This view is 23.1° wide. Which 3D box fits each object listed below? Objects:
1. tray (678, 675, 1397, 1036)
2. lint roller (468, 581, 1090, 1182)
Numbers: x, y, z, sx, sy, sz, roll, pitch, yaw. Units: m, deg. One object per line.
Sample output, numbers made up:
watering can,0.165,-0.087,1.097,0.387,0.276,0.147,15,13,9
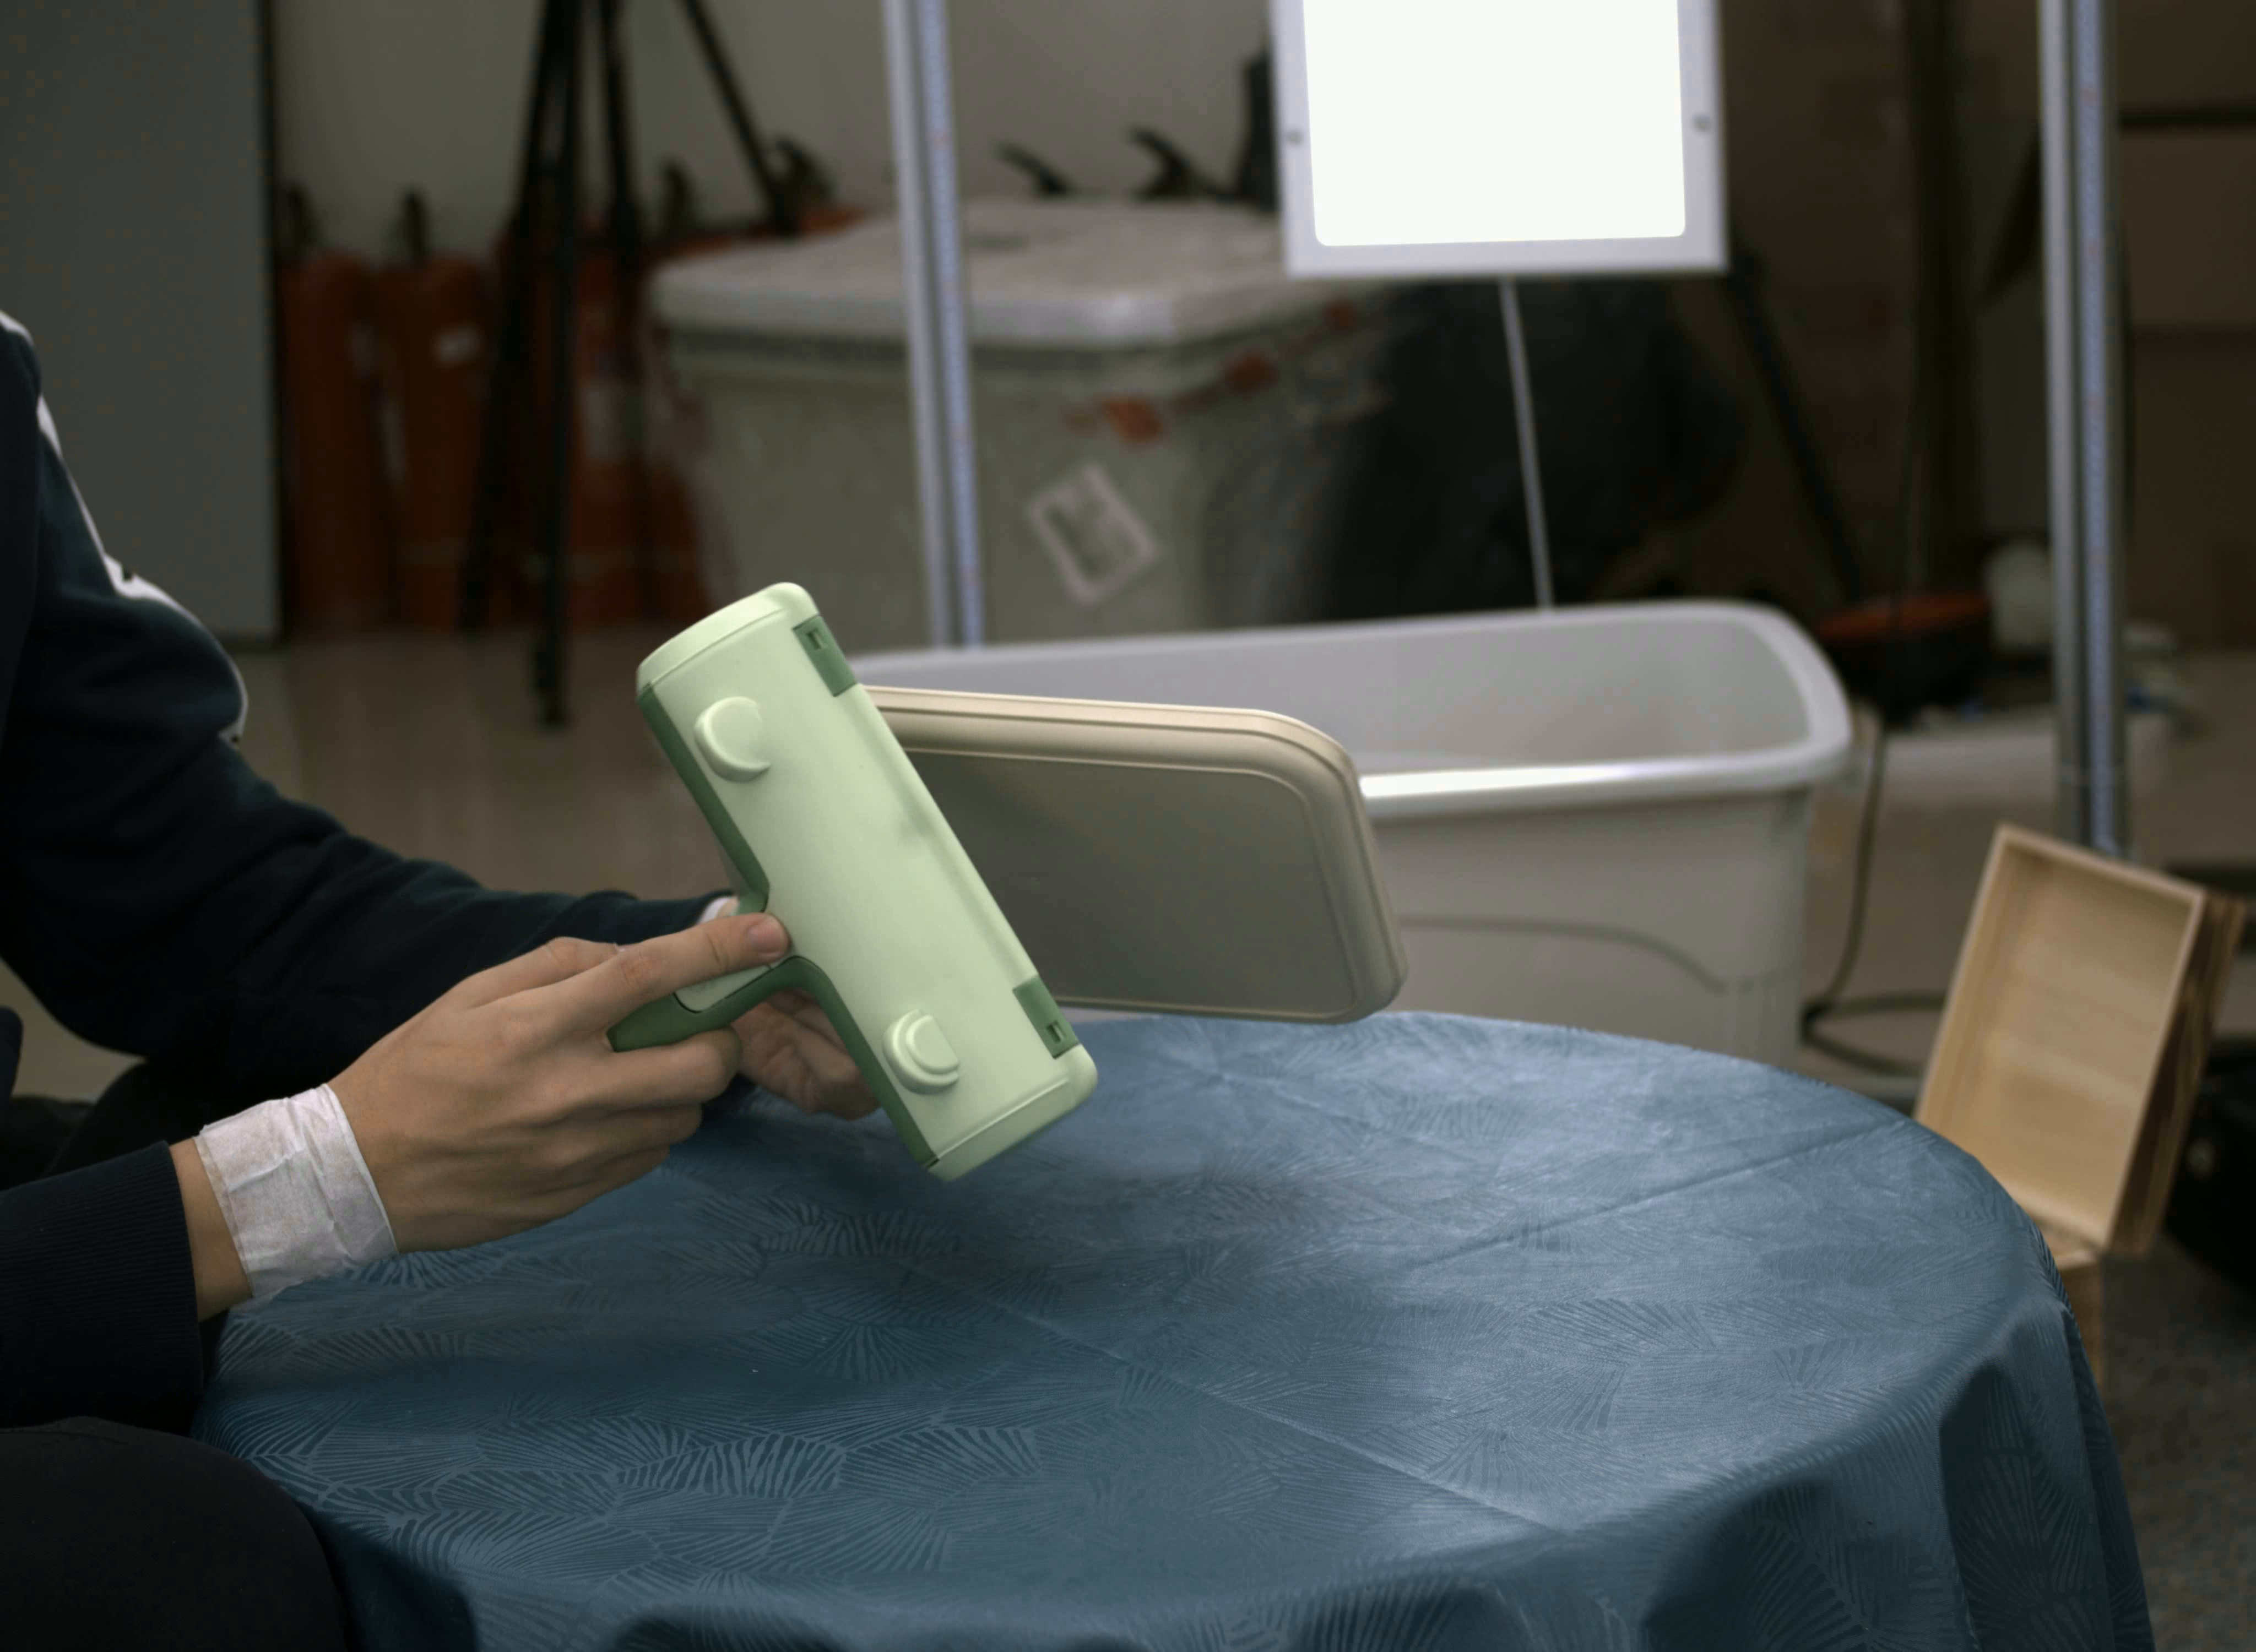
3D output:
tray,-0.033,0.012,1.856,0.242,0.171,0.017,4,53,19
lint roller,-0.137,0.049,1.763,0.183,0.199,0.082,-32,-2,3
